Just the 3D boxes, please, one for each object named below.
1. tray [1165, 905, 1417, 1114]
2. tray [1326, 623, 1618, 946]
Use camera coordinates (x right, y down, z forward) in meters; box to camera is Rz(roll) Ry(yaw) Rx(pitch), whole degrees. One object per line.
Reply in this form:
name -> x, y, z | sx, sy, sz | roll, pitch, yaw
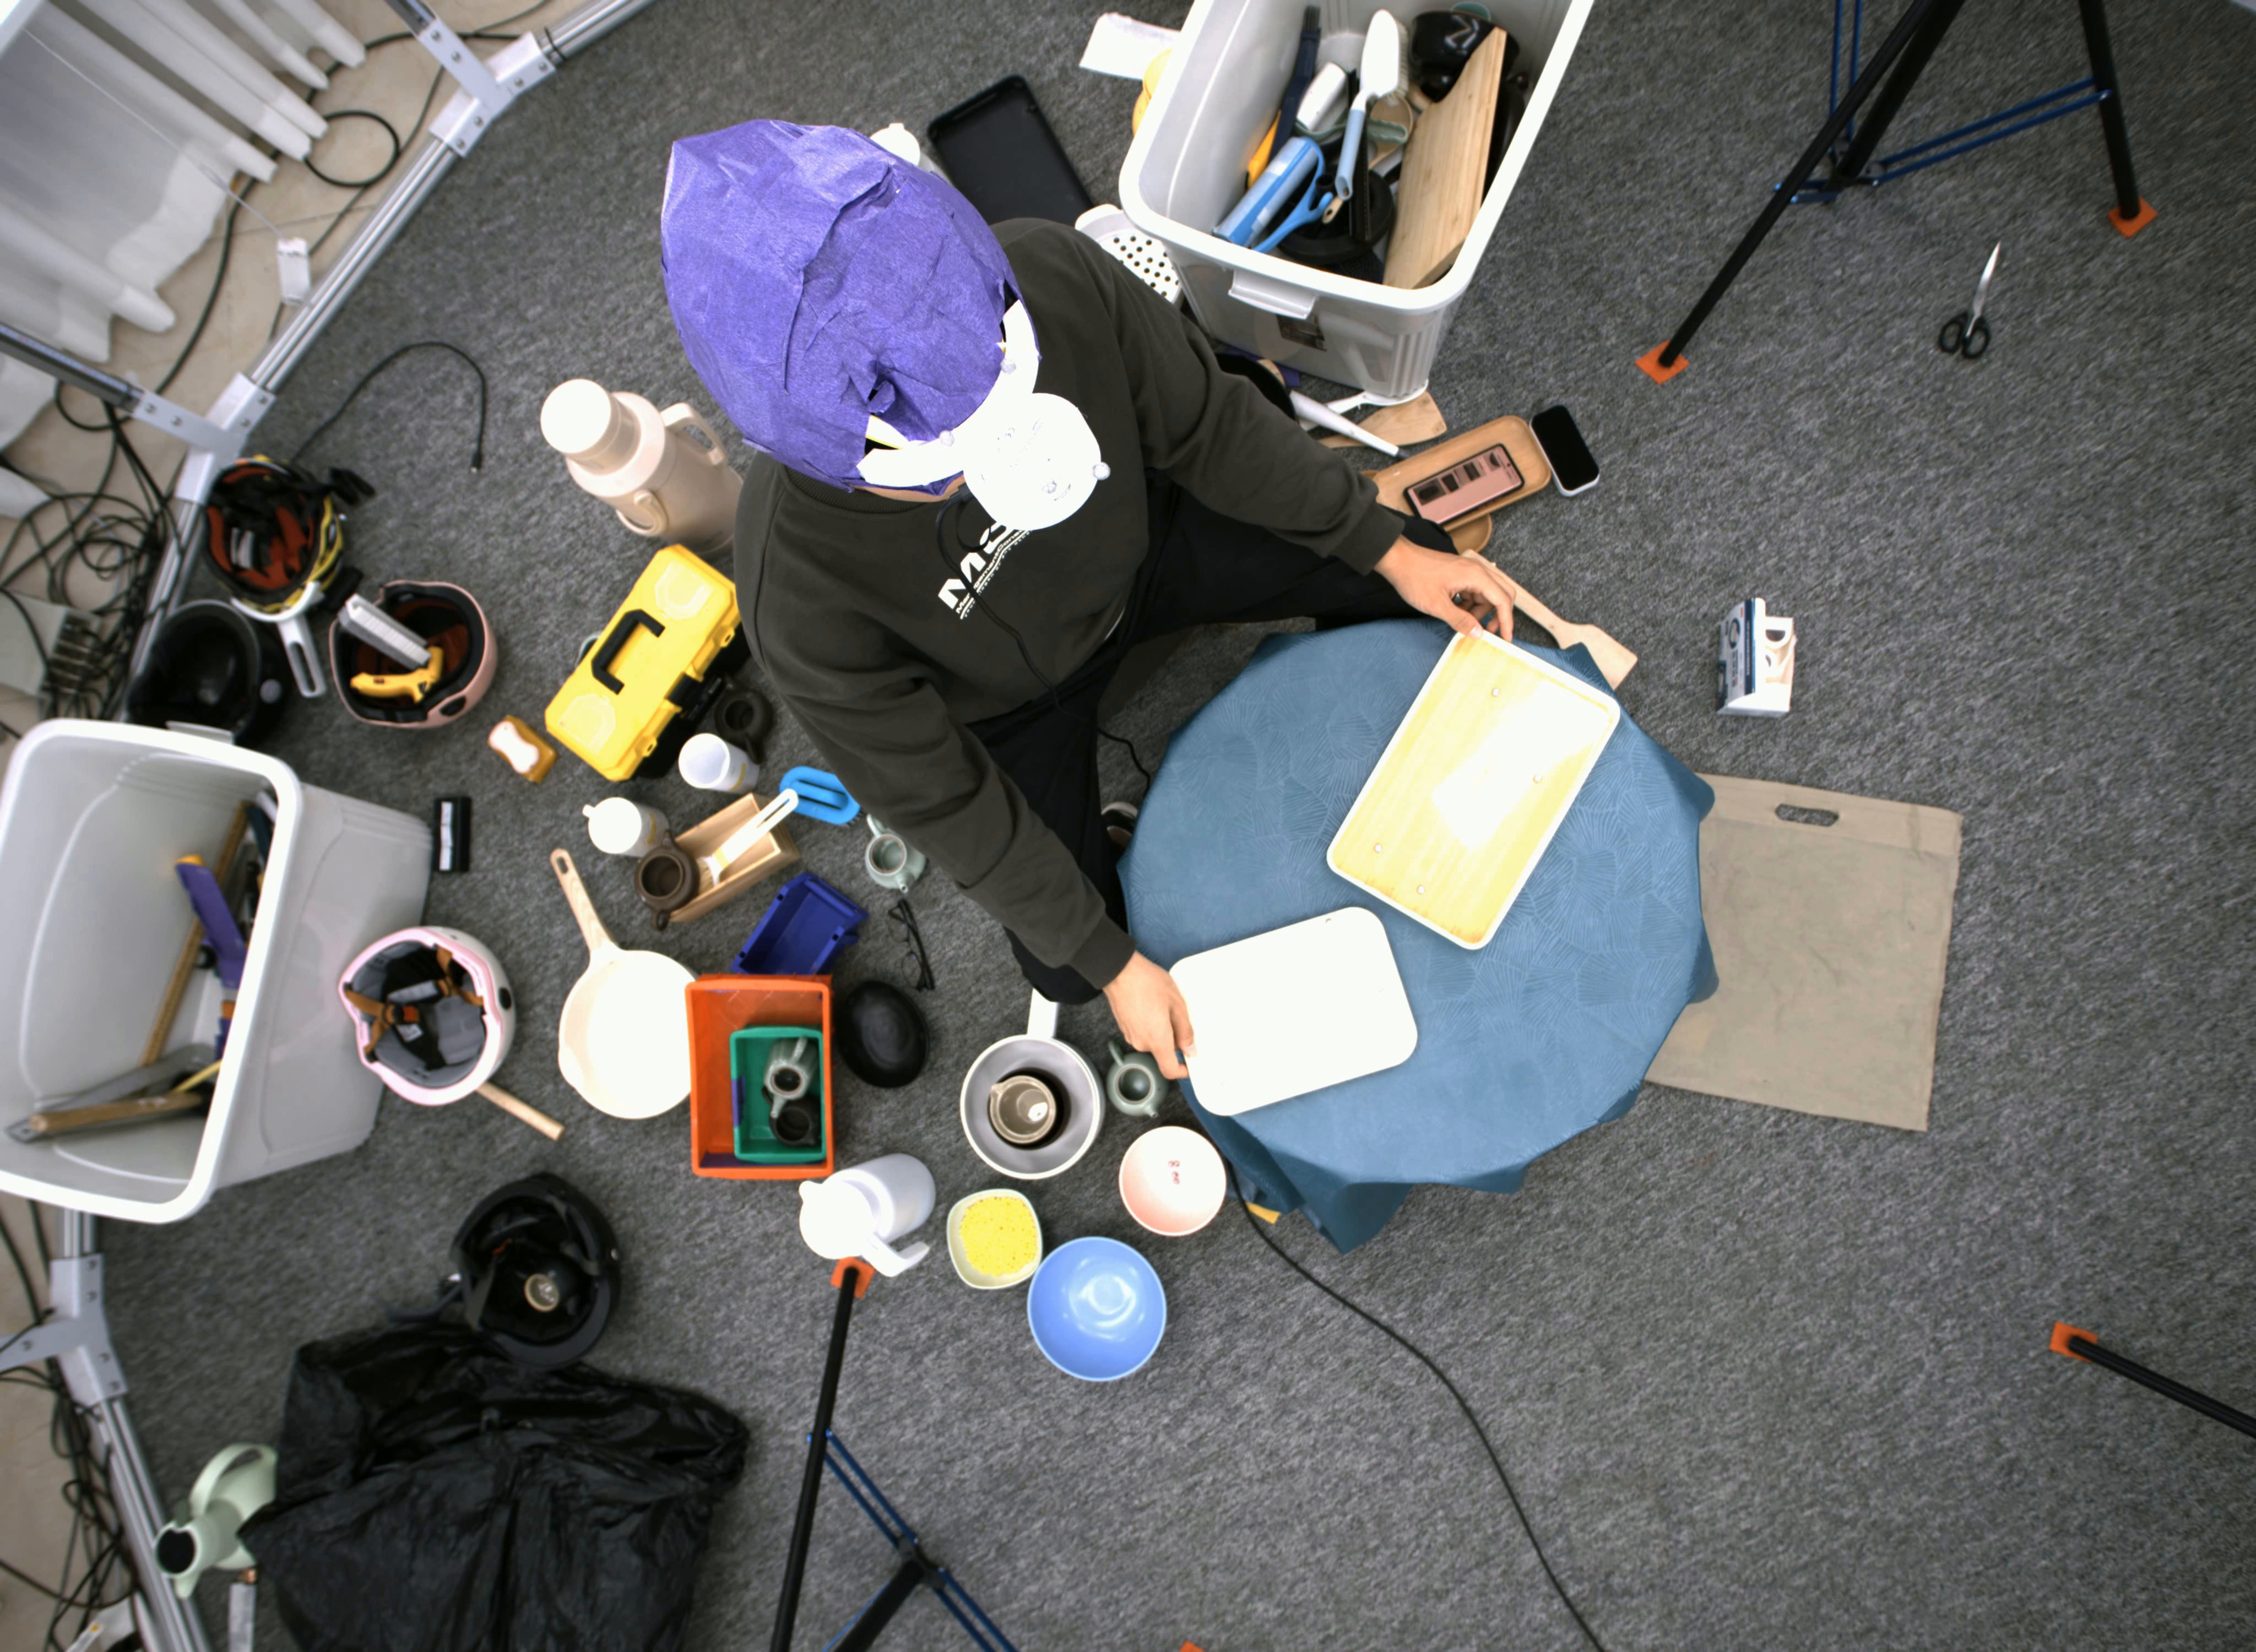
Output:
tray -> 0.170, 0.191, 1.454 | 0.240, 0.017, 0.170 | -18, 85, 5
tray -> 0.358, -0.046, 1.437 | 0.191, 0.027, 0.300 | 31, 92, 11
